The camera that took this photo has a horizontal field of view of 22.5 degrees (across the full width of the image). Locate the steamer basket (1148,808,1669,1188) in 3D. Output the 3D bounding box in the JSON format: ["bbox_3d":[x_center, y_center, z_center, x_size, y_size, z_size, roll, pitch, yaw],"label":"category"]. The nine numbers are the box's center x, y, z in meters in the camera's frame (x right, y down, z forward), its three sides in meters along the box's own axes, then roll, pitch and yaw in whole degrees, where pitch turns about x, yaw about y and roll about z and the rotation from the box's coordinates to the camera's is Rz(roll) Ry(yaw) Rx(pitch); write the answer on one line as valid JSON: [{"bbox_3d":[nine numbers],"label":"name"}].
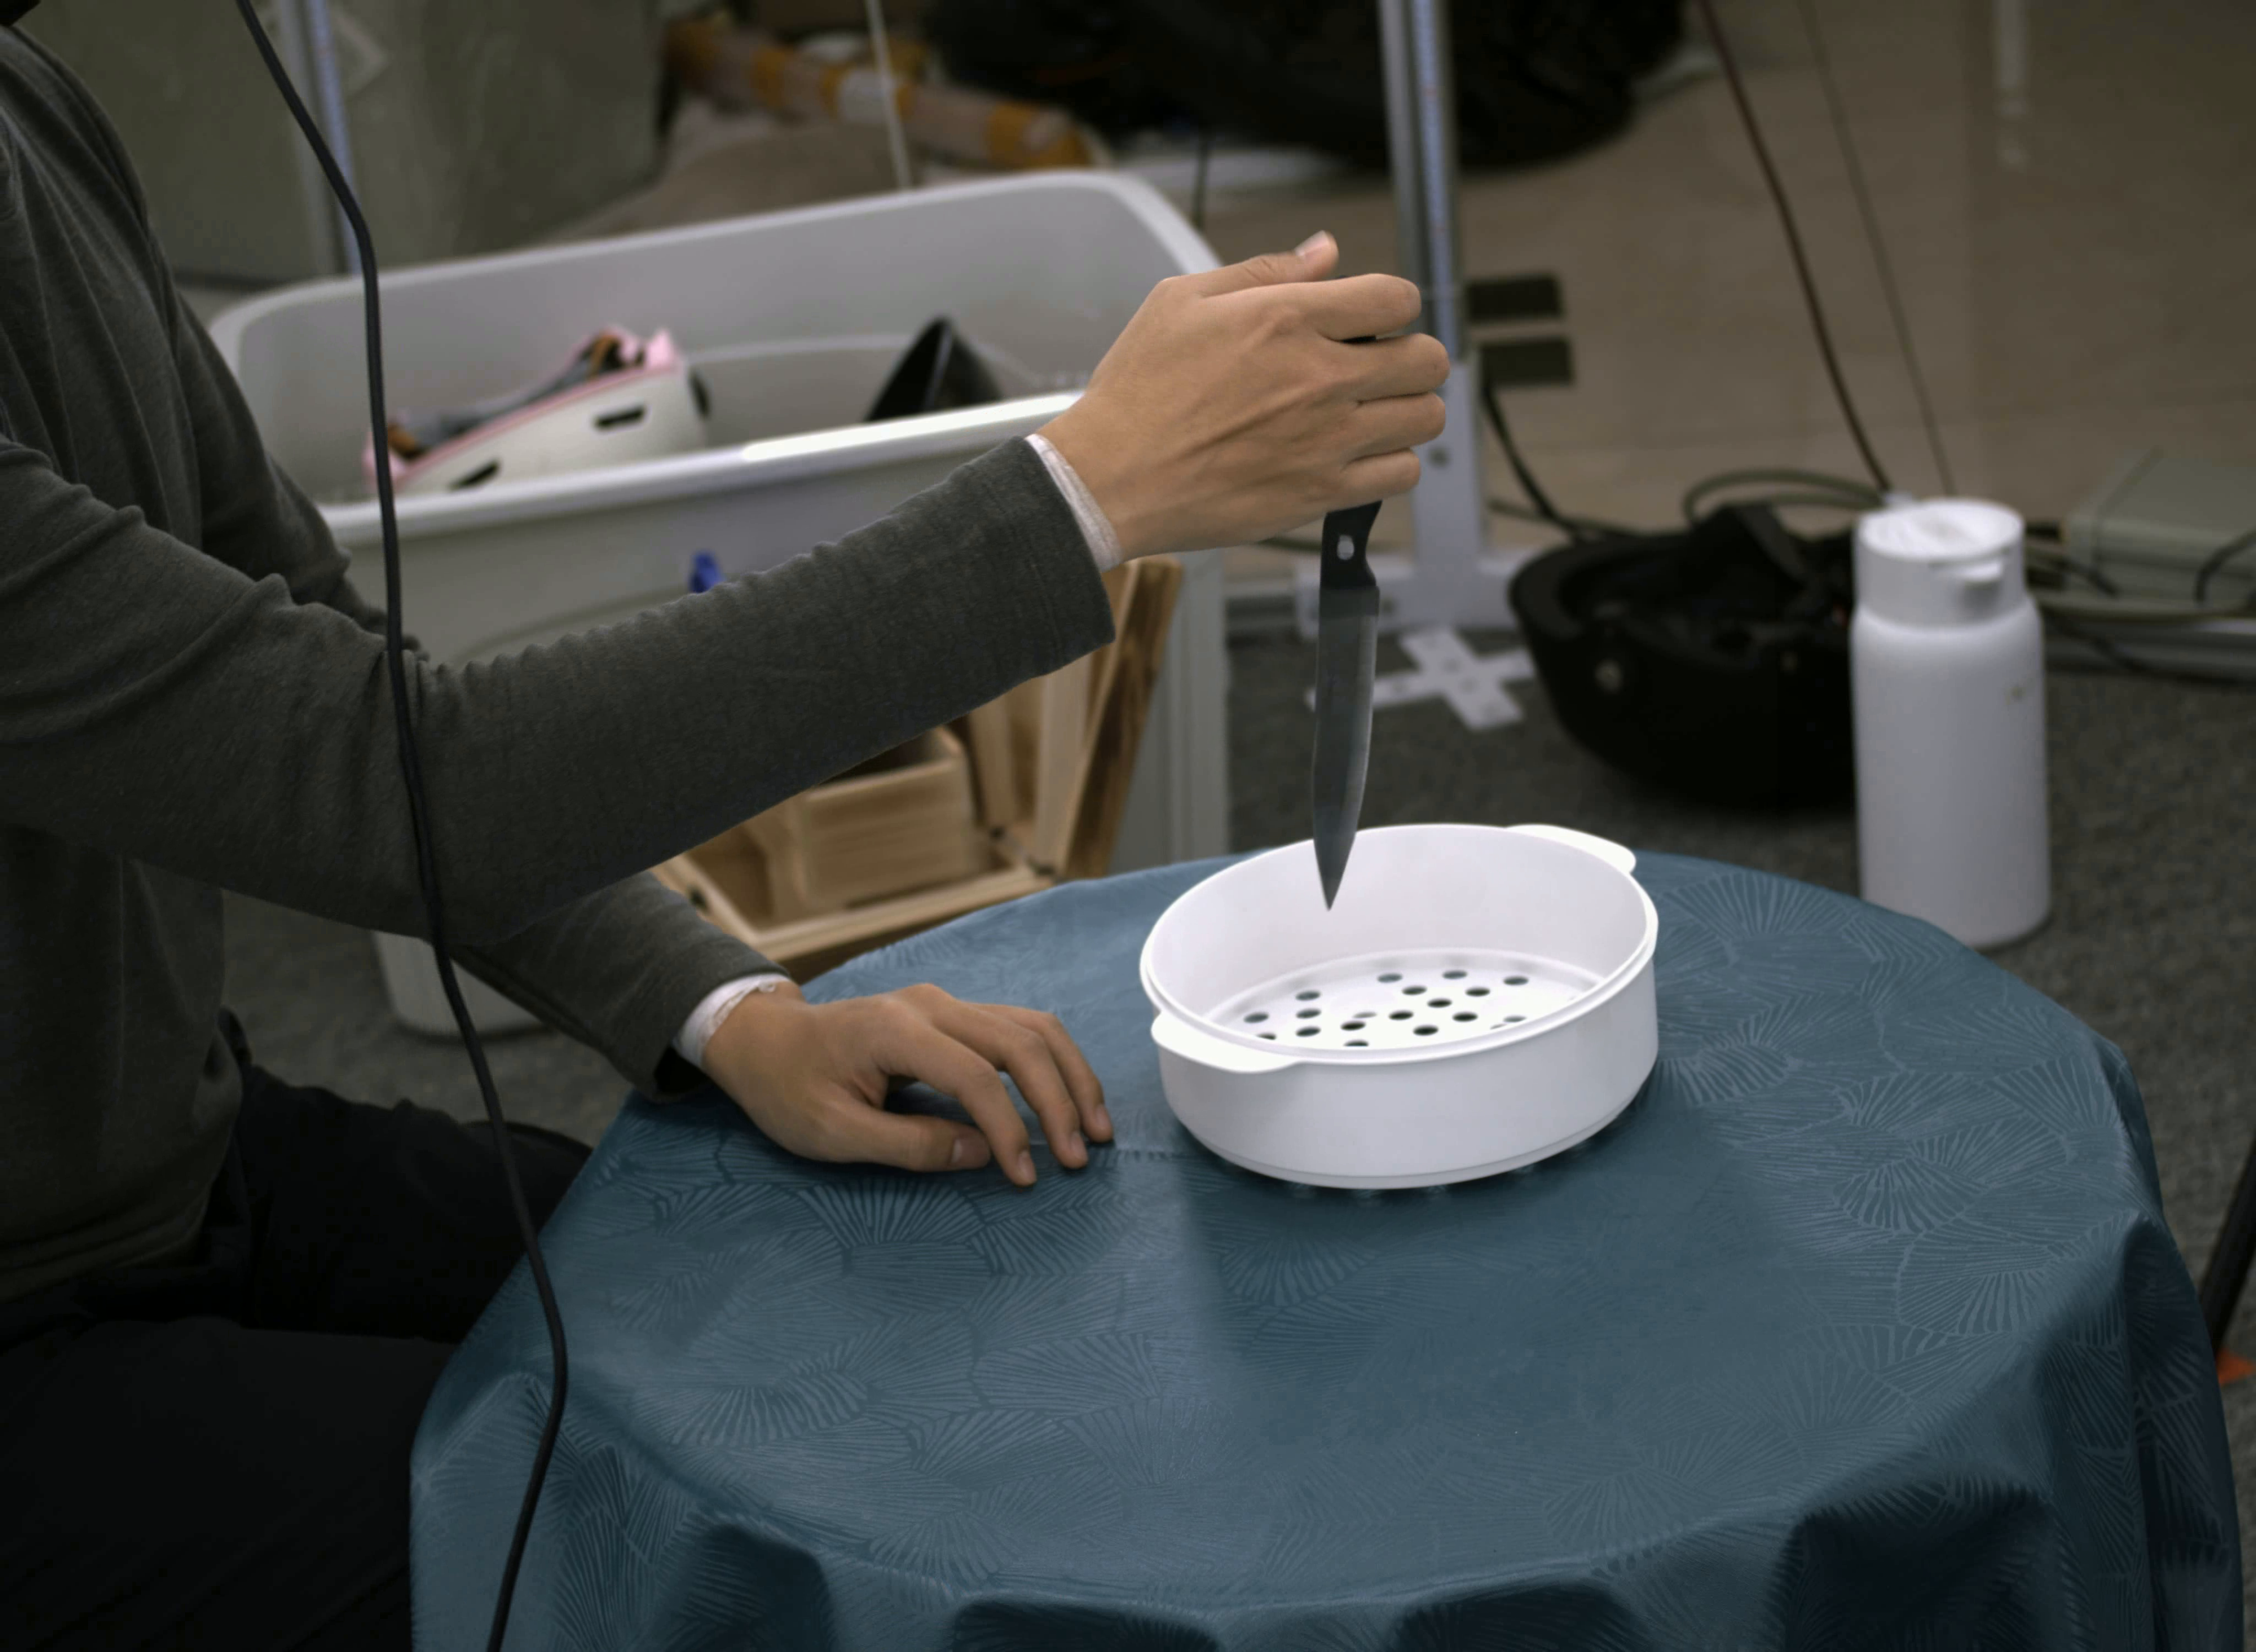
[{"bbox_3d":[0.111,0.068,2.195,0.228,0.070,0.200,-29,33,-35],"label":"steamer basket"}]

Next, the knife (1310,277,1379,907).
[{"bbox_3d":[0.078,-0.083,2.053,0.024,0.241,0.016,0,21,-2],"label":"knife"}]
